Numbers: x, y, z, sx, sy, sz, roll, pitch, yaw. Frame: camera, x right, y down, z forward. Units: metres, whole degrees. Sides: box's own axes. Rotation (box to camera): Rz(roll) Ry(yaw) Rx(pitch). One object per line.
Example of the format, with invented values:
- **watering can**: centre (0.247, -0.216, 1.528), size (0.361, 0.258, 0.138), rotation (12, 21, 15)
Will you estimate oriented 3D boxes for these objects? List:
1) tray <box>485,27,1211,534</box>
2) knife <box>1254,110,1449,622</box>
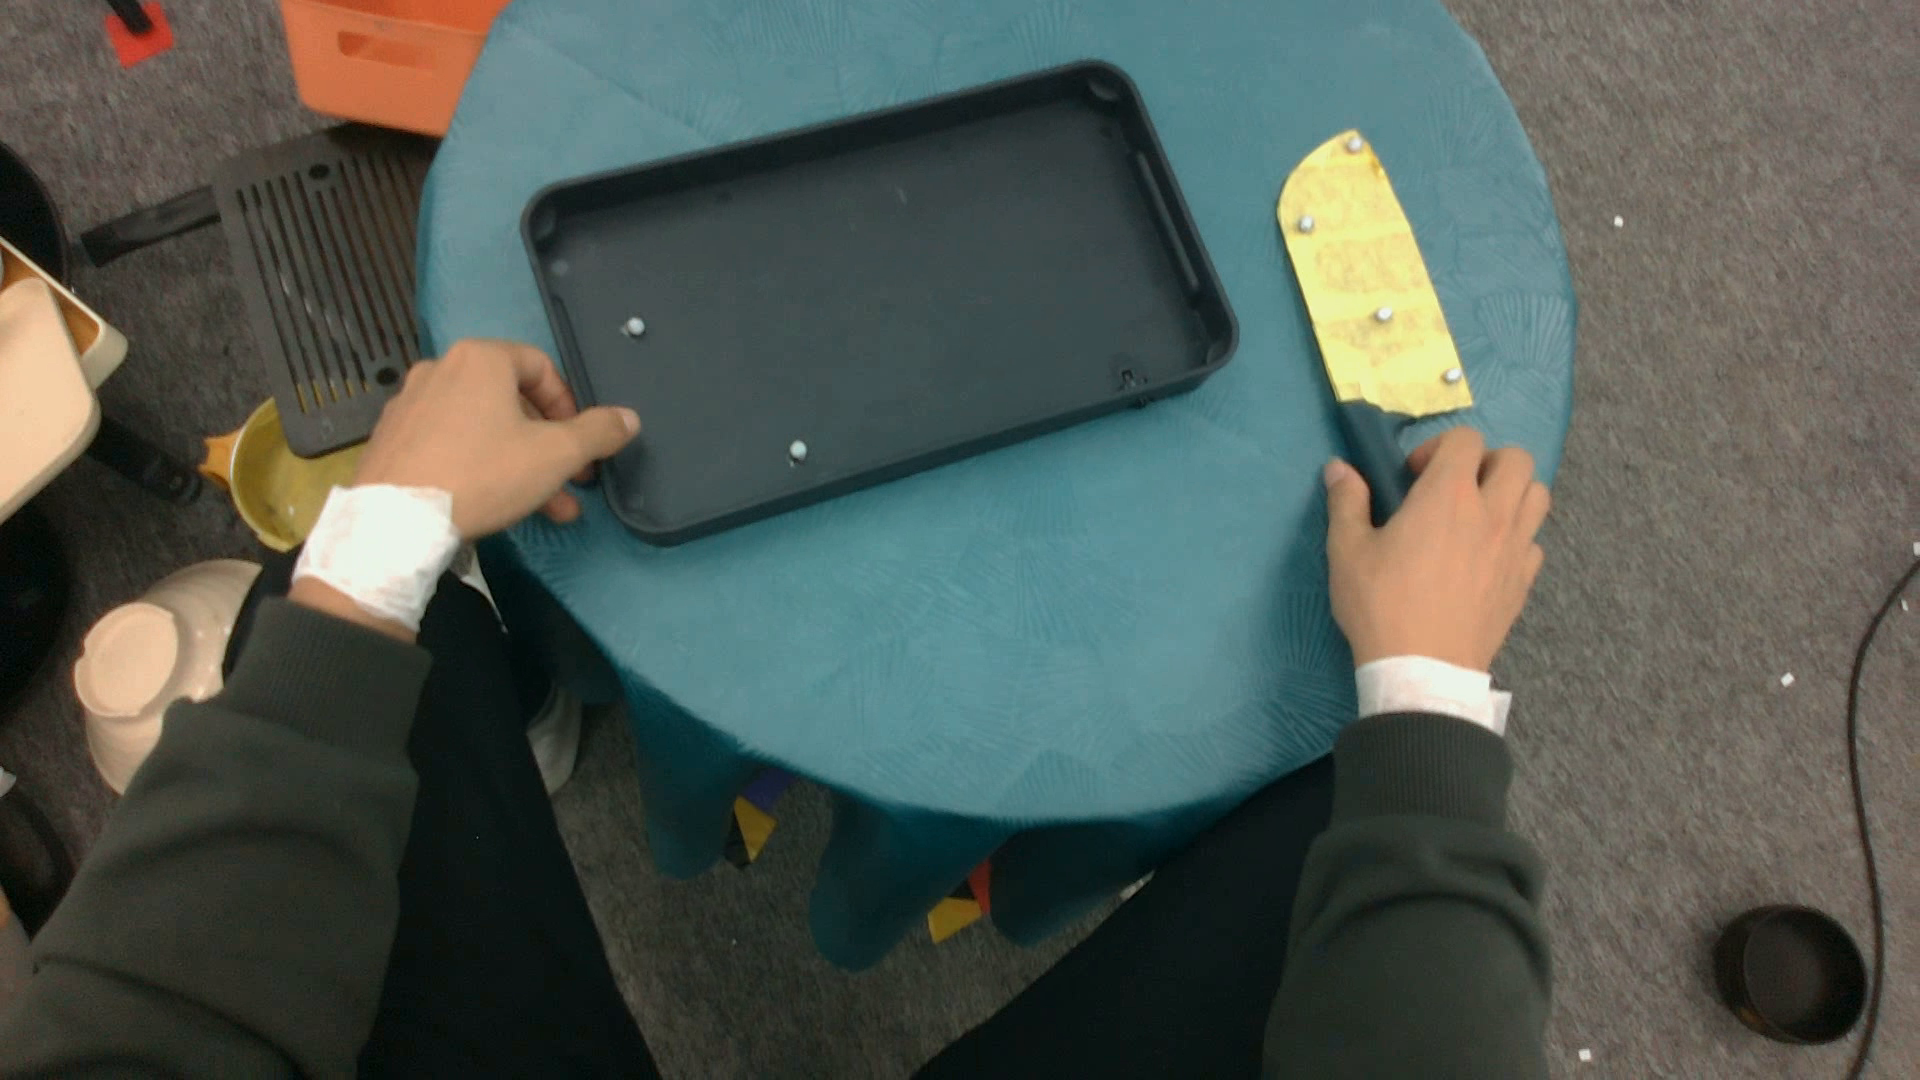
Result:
- **tray**: centre (-0.050, -0.132, 0.675), size (0.318, 0.037, 0.184), rotation (-19, 79, -14)
- **knife**: centre (0.214, -0.099, 0.719), size (0.081, 0.027, 0.290), rotation (-8, 75, -10)
